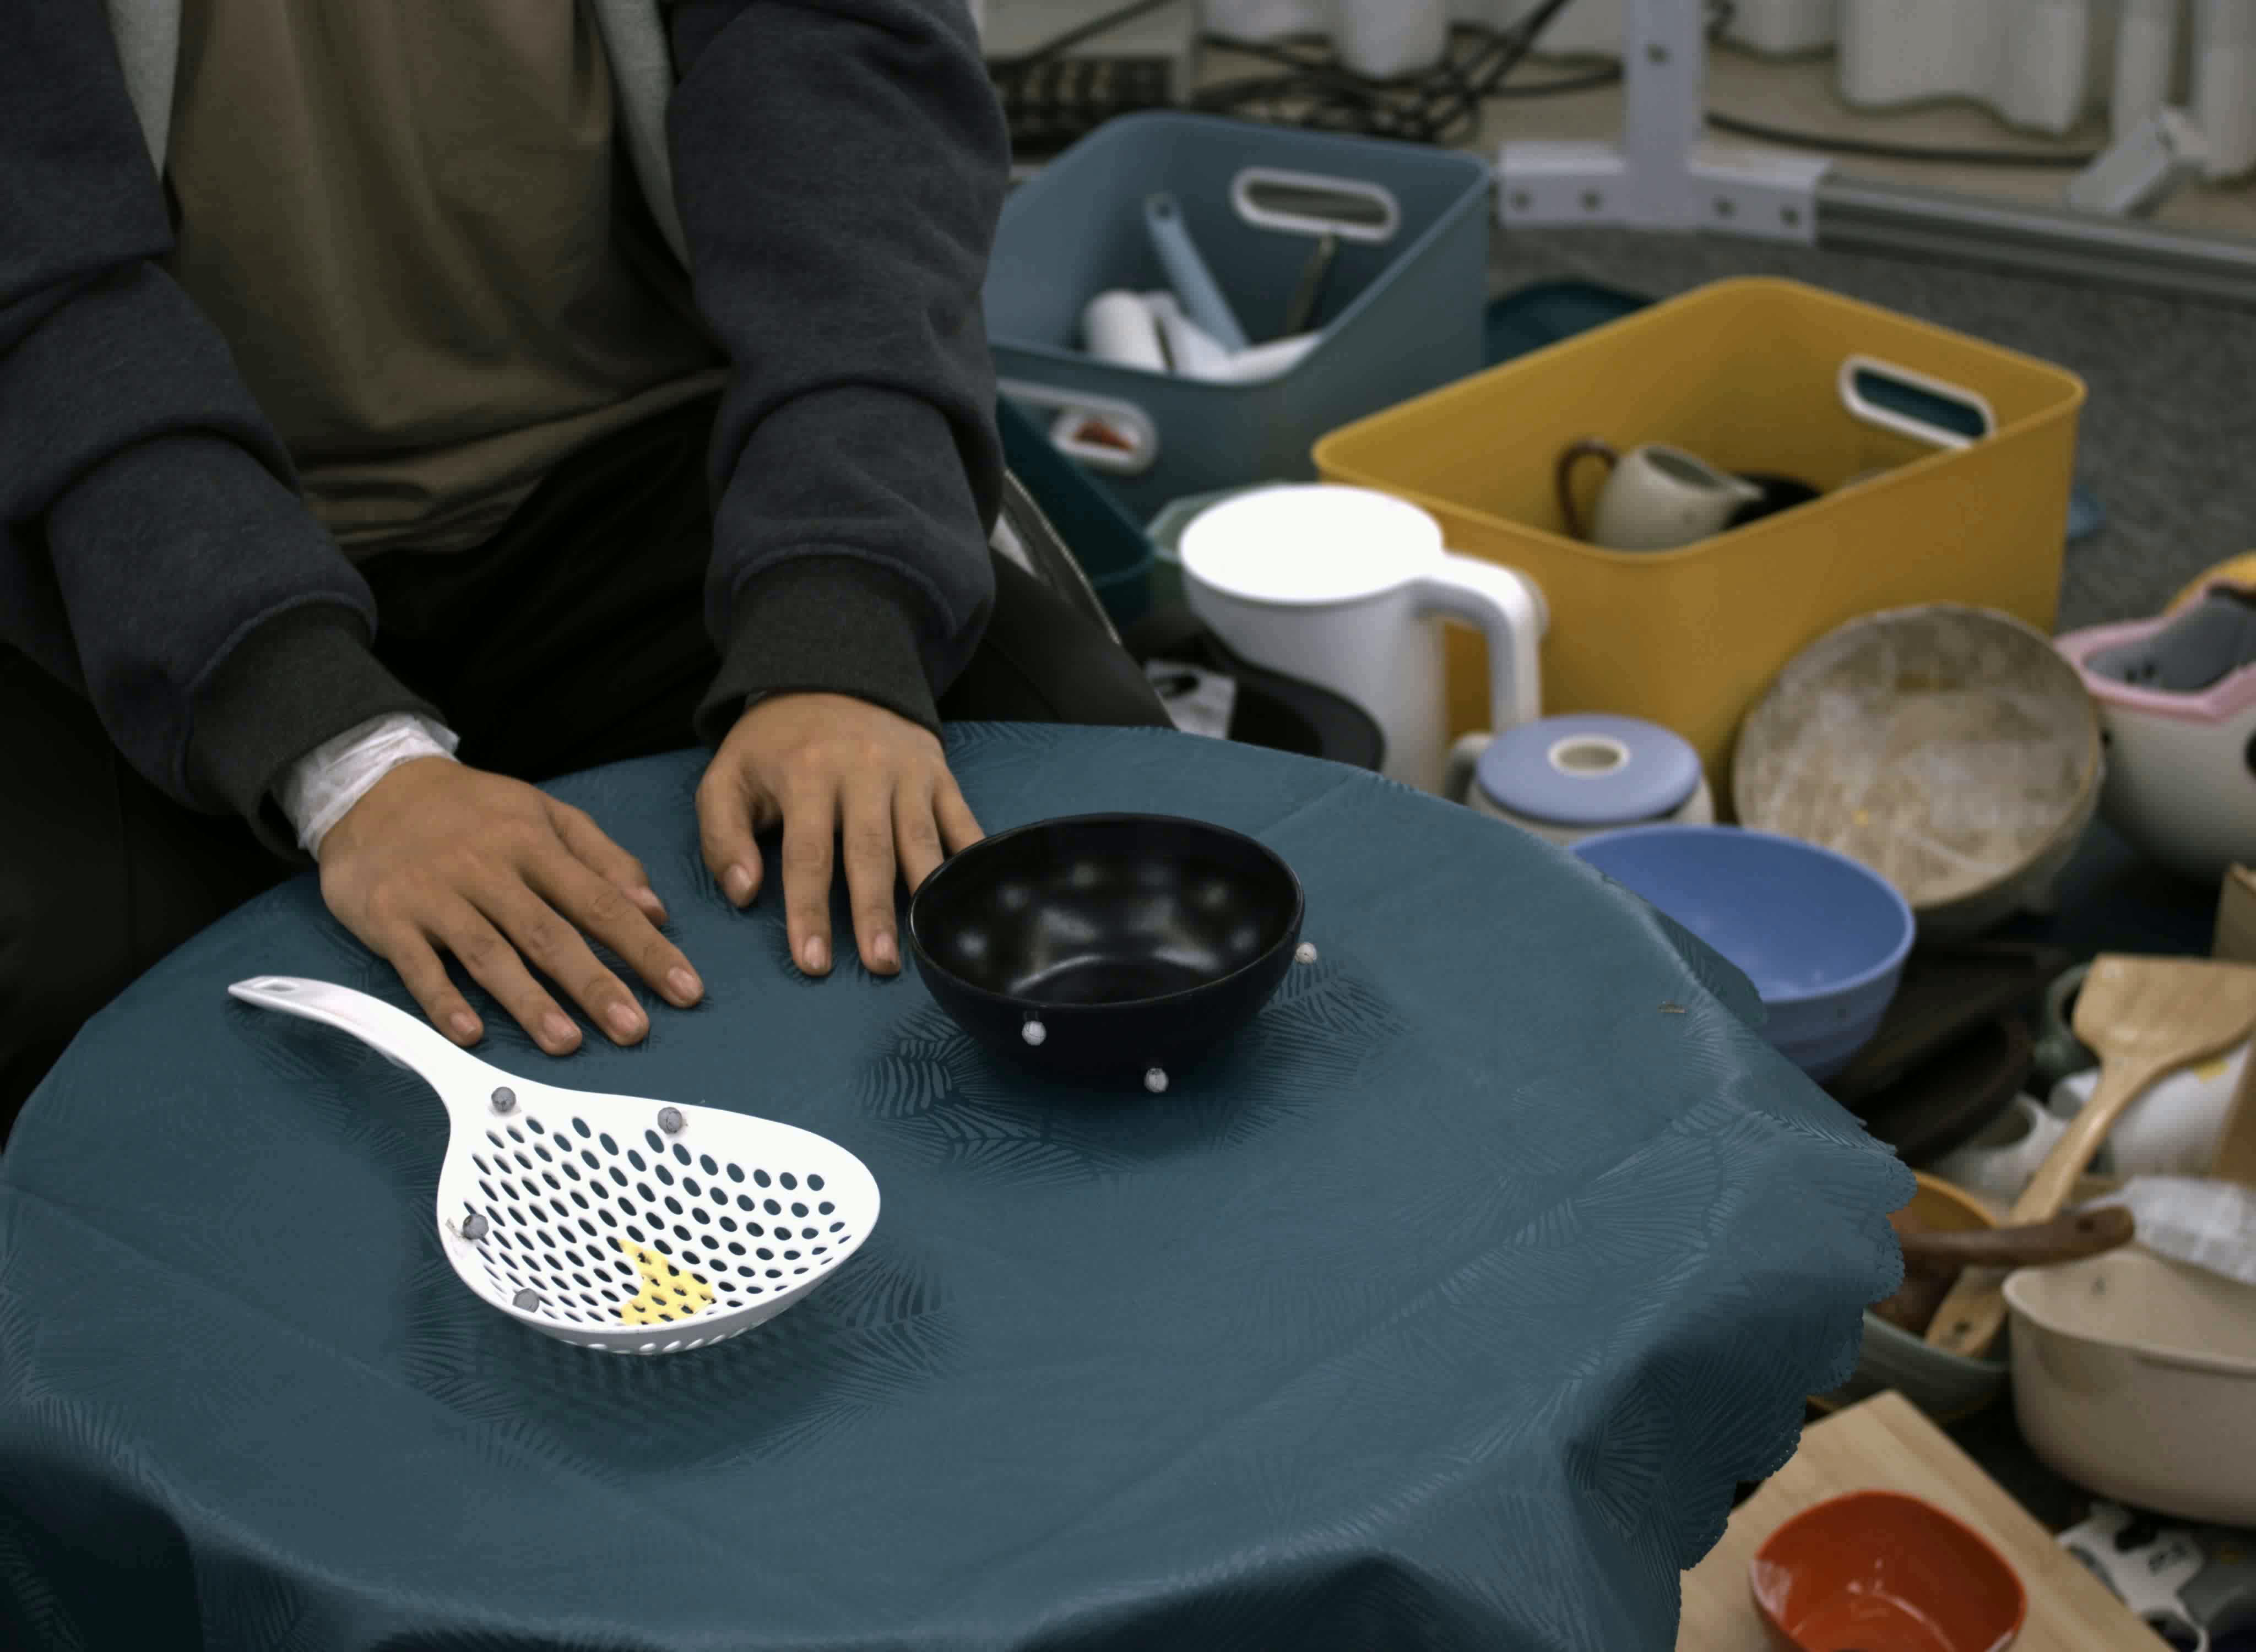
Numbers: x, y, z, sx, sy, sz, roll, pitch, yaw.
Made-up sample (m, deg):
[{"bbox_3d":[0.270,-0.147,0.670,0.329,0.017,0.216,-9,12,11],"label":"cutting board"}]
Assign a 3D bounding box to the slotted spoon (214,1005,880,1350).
[{"bbox_3d":[-0.212,0.103,1.877,0.138,0.050,0.348,-25,34,-30],"label":"slotted spoon"}]
